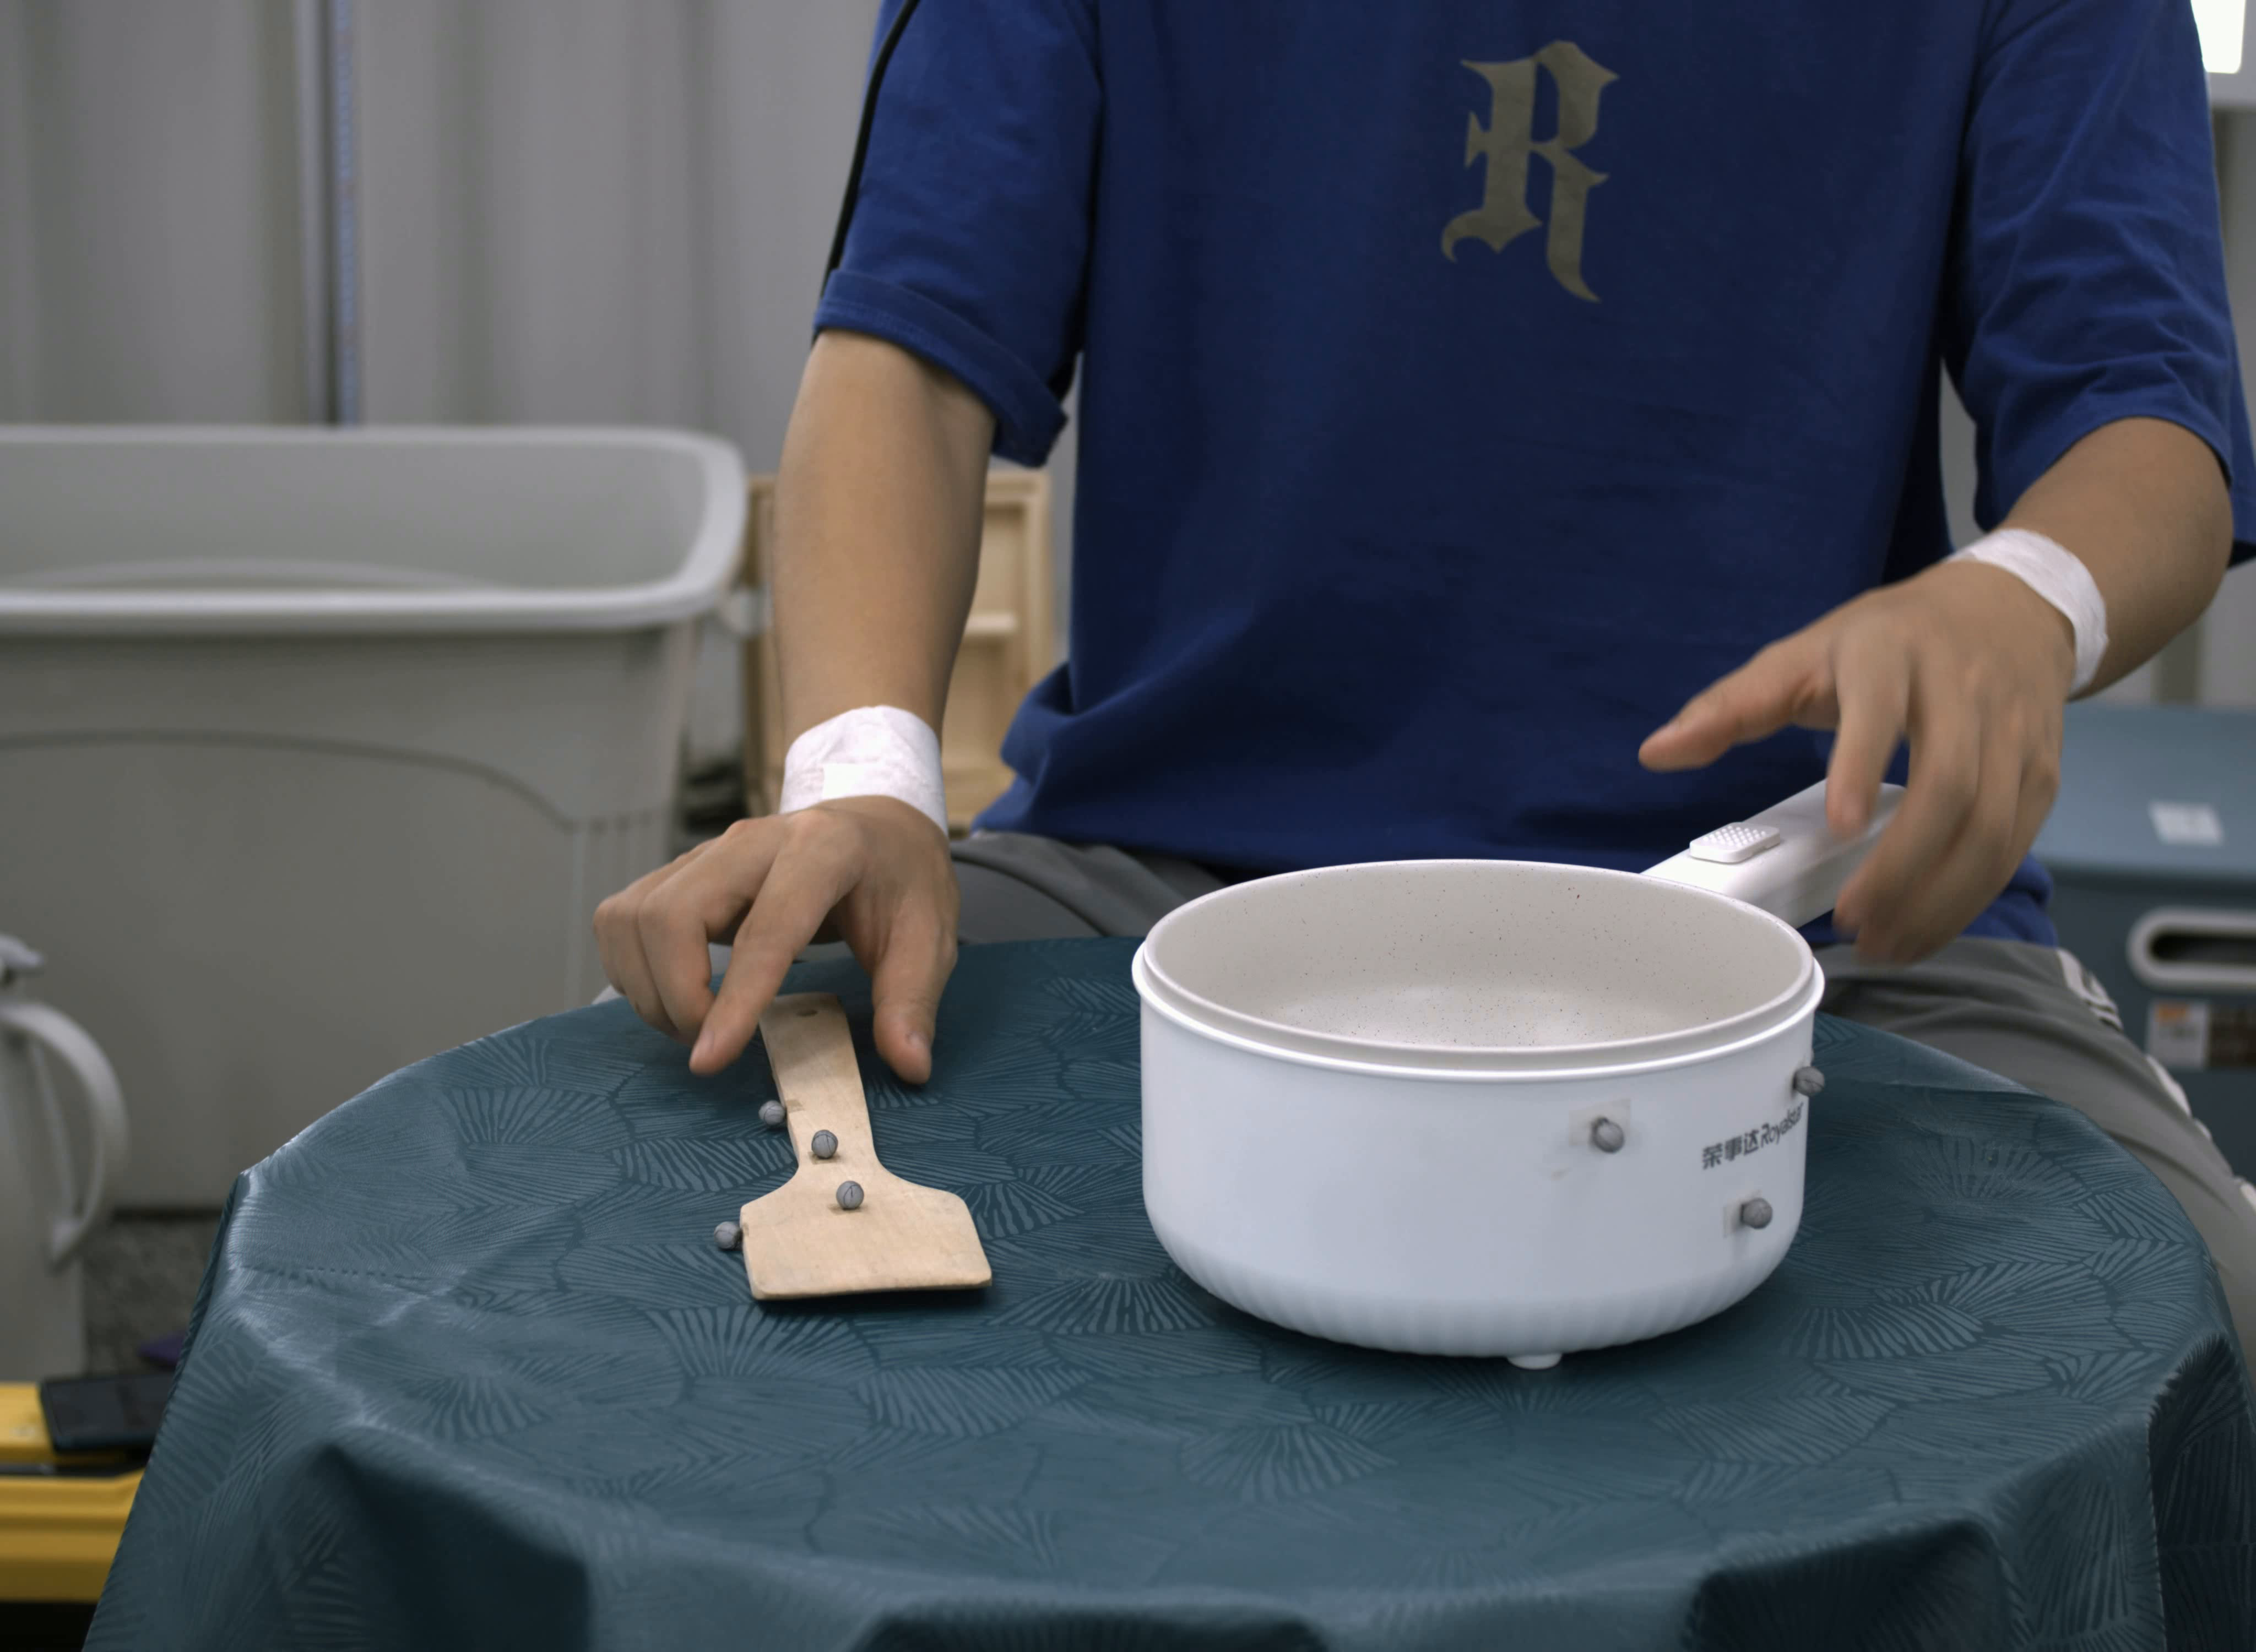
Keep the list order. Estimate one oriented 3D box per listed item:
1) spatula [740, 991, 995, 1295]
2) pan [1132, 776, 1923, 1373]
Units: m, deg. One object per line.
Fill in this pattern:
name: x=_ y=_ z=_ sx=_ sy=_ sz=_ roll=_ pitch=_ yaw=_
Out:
spatula: x=-0.093 y=0.097 z=1.656 sx=0.072 sy=0.011 sz=0.291 roll=-2 pitch=16 yaw=-8
pan: x=0.145 y=0.069 z=1.602 sx=0.199 sy=0.103 sz=0.356 roll=8 pitch=17 yaw=33
